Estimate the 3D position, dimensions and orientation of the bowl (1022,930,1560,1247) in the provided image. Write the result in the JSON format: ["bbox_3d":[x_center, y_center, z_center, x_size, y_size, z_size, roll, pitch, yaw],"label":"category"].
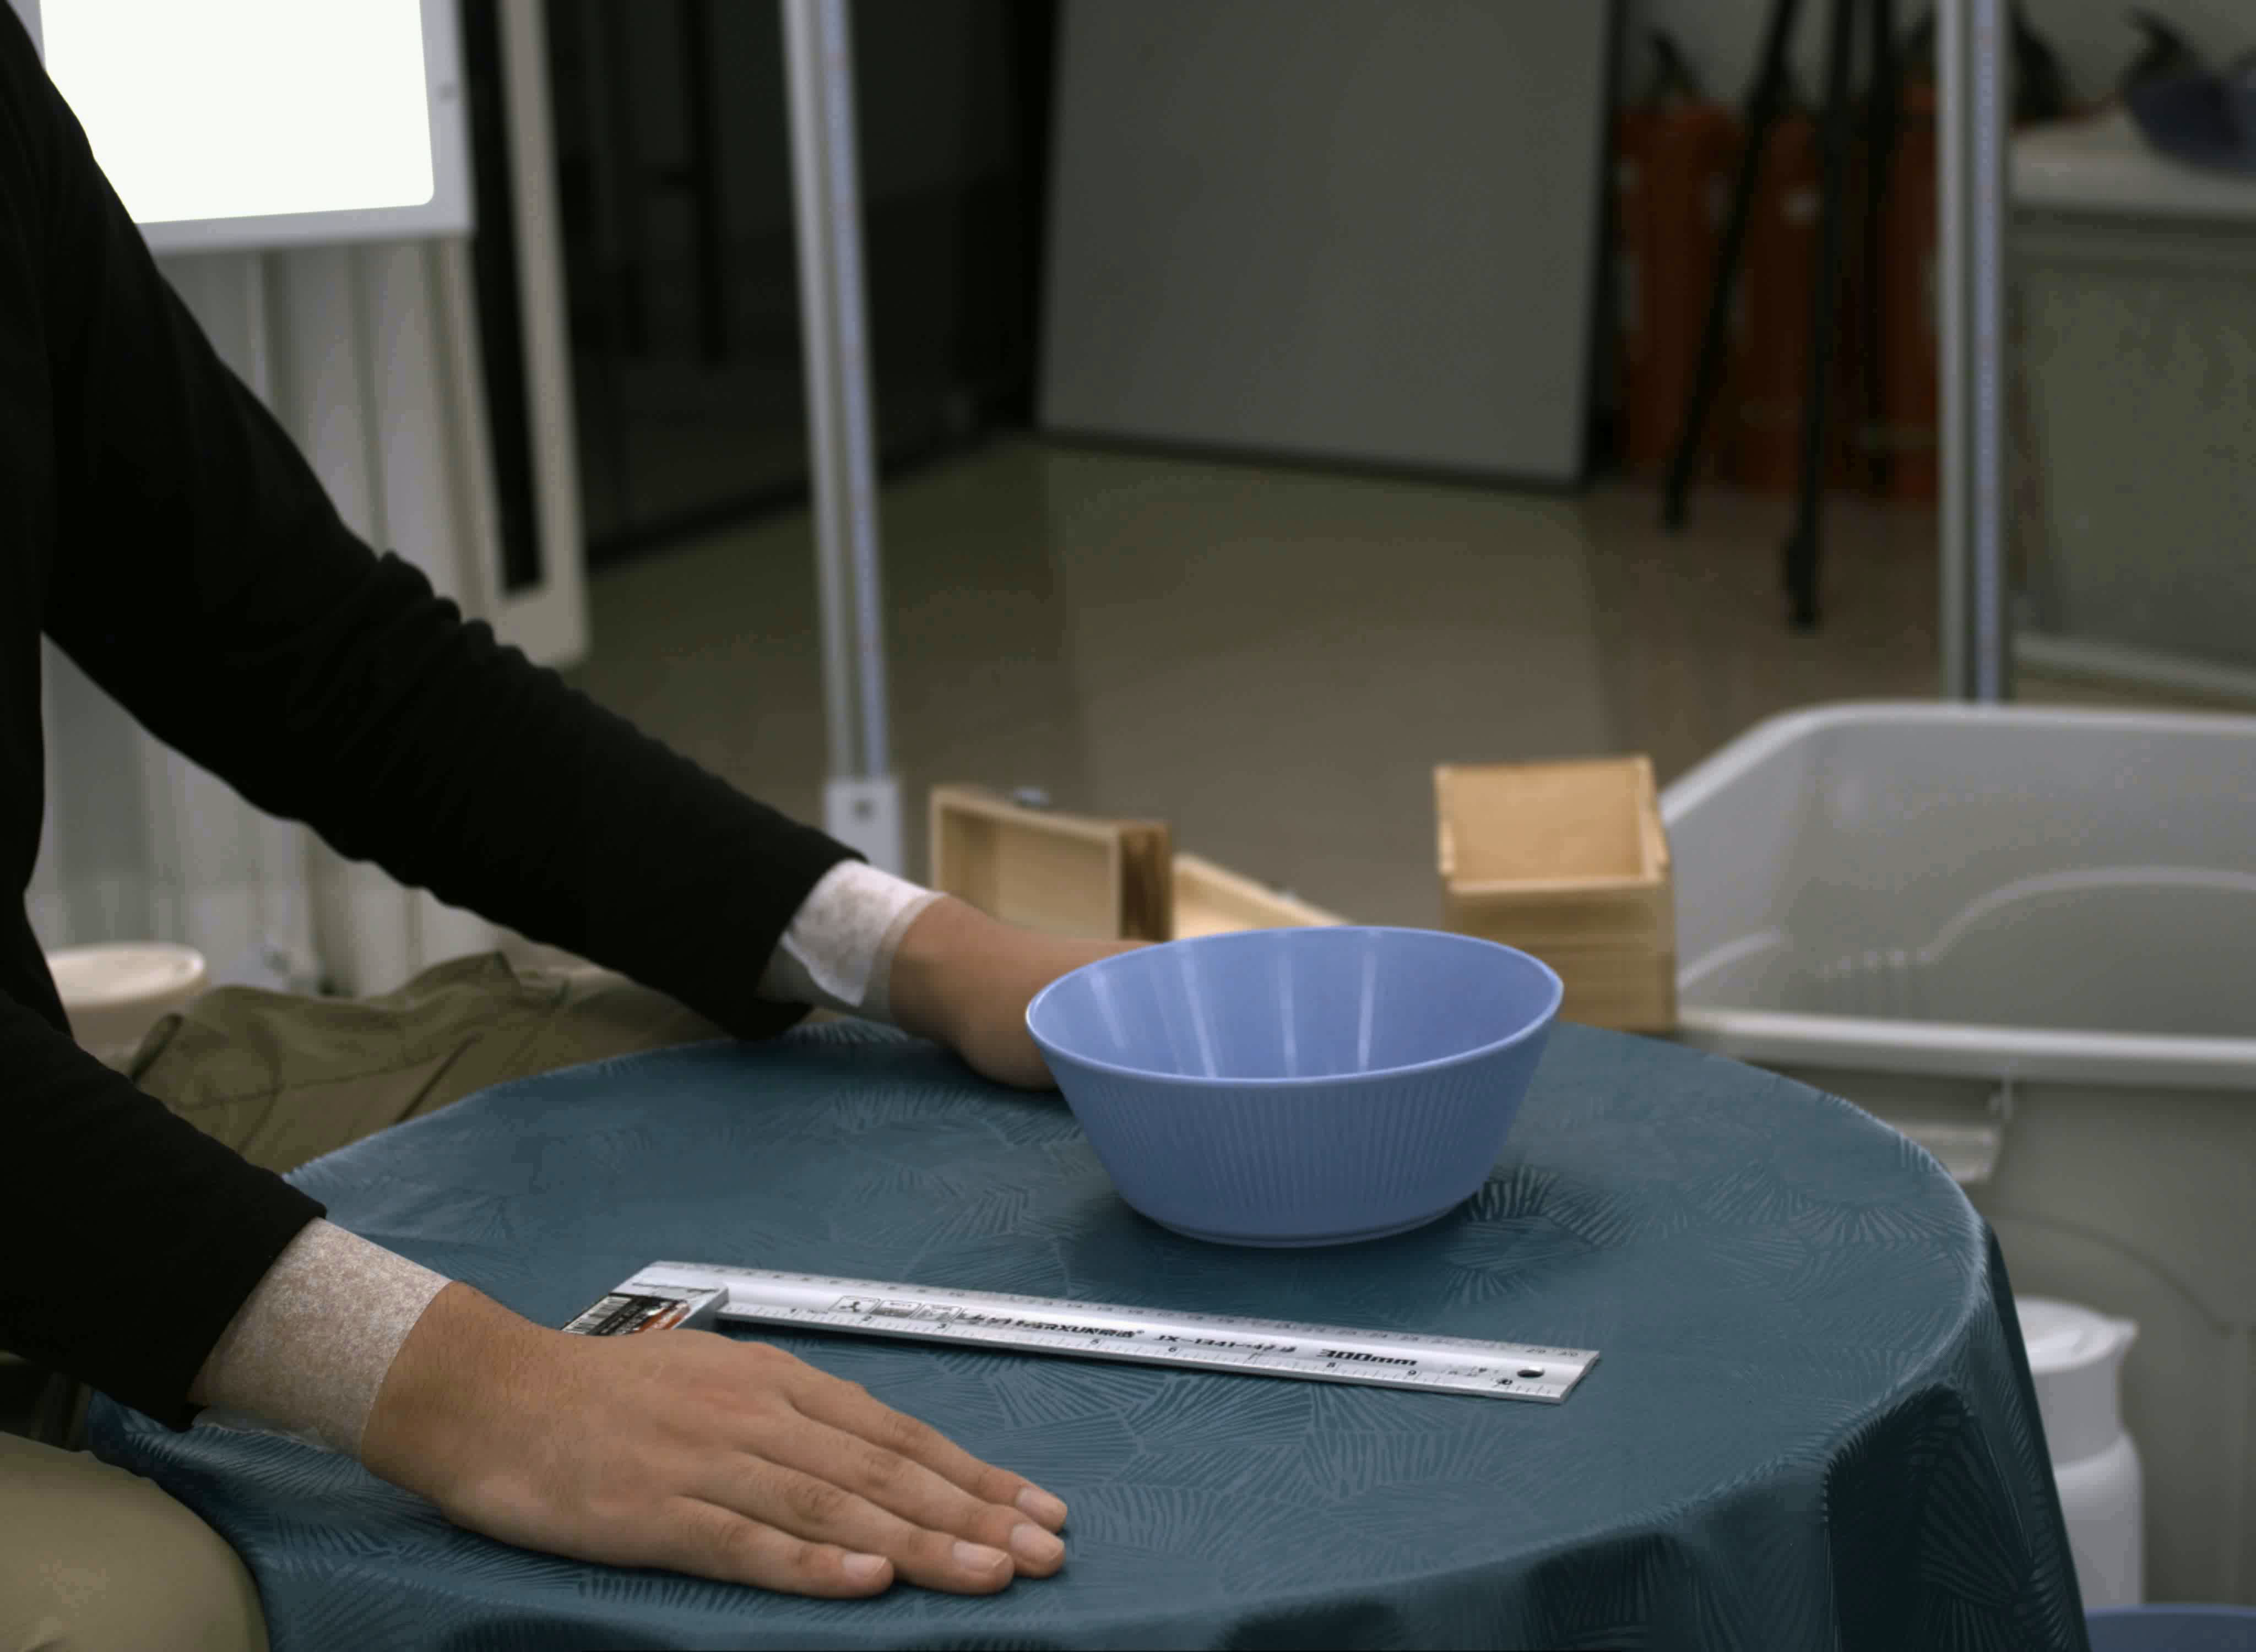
[{"bbox_3d":[0.054,0.087,1.746,0.174,0.071,0.176,-4,14,0],"label":"bowl"}]

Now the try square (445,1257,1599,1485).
[{"bbox_3d":[-0.031,0.169,1.583,0.313,0.016,0.150,3,19,24],"label":"try square"}]
